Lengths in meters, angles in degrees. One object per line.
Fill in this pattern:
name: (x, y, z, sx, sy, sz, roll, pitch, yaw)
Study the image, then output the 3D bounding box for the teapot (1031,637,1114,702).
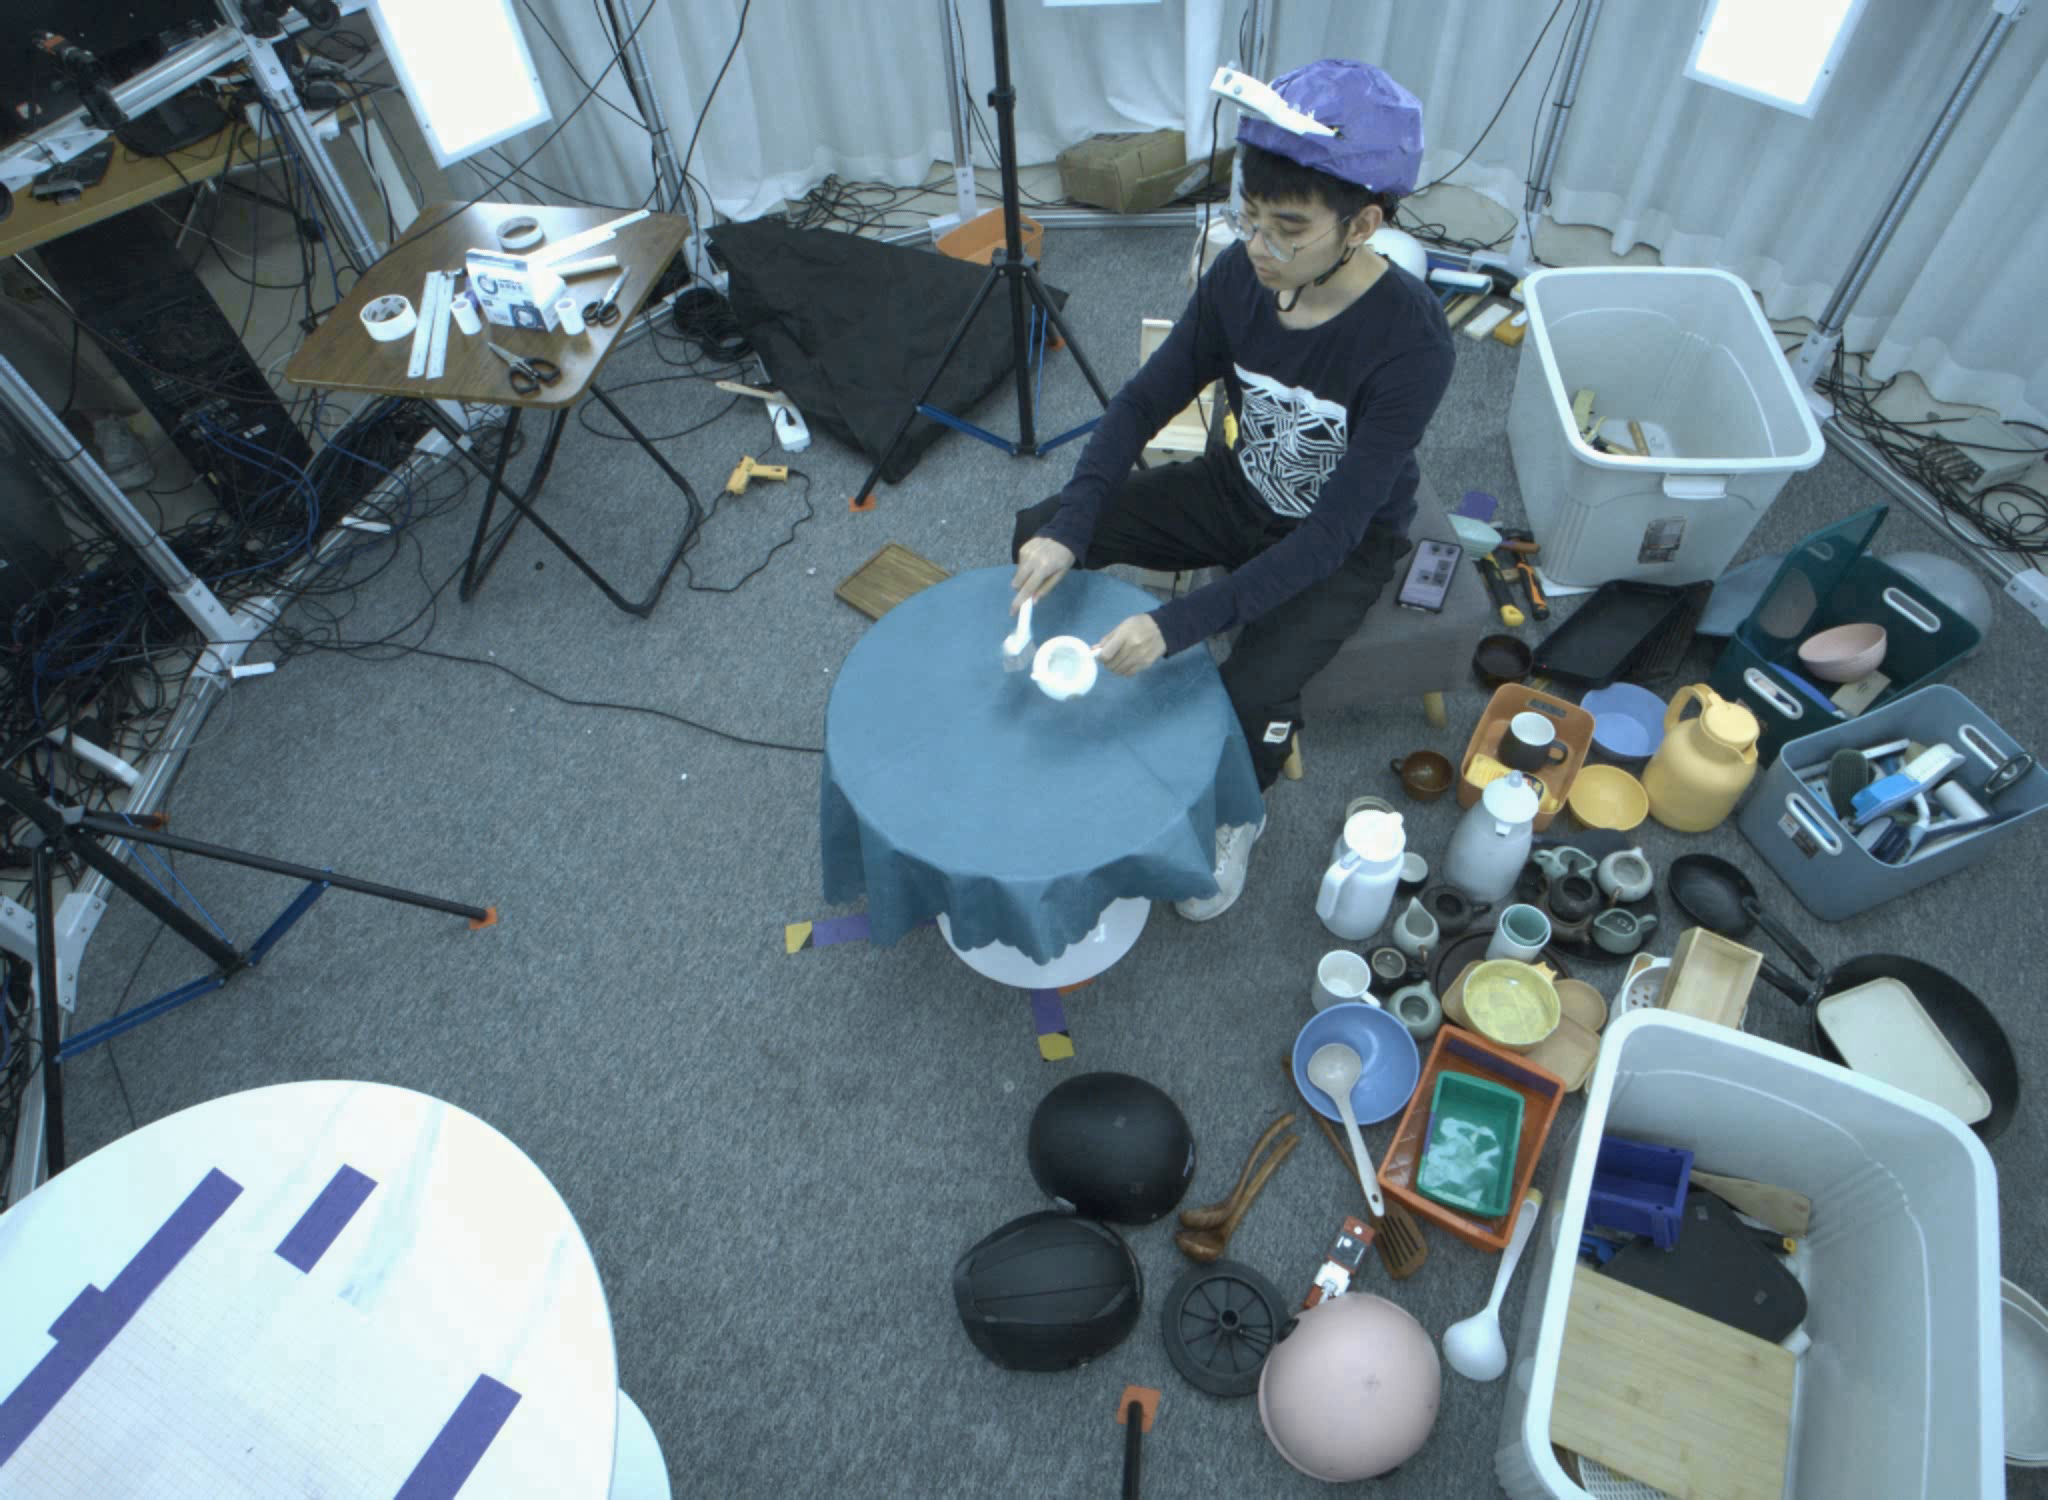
teapot: (0.069, -0.119, 1.755, 0.128, 0.057, 0.092, -25, 77, -7)

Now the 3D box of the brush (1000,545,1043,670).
brush: (0.009, -0.215, 1.849, 0.034, 0.051, 0.242, -16, 43, 32)
